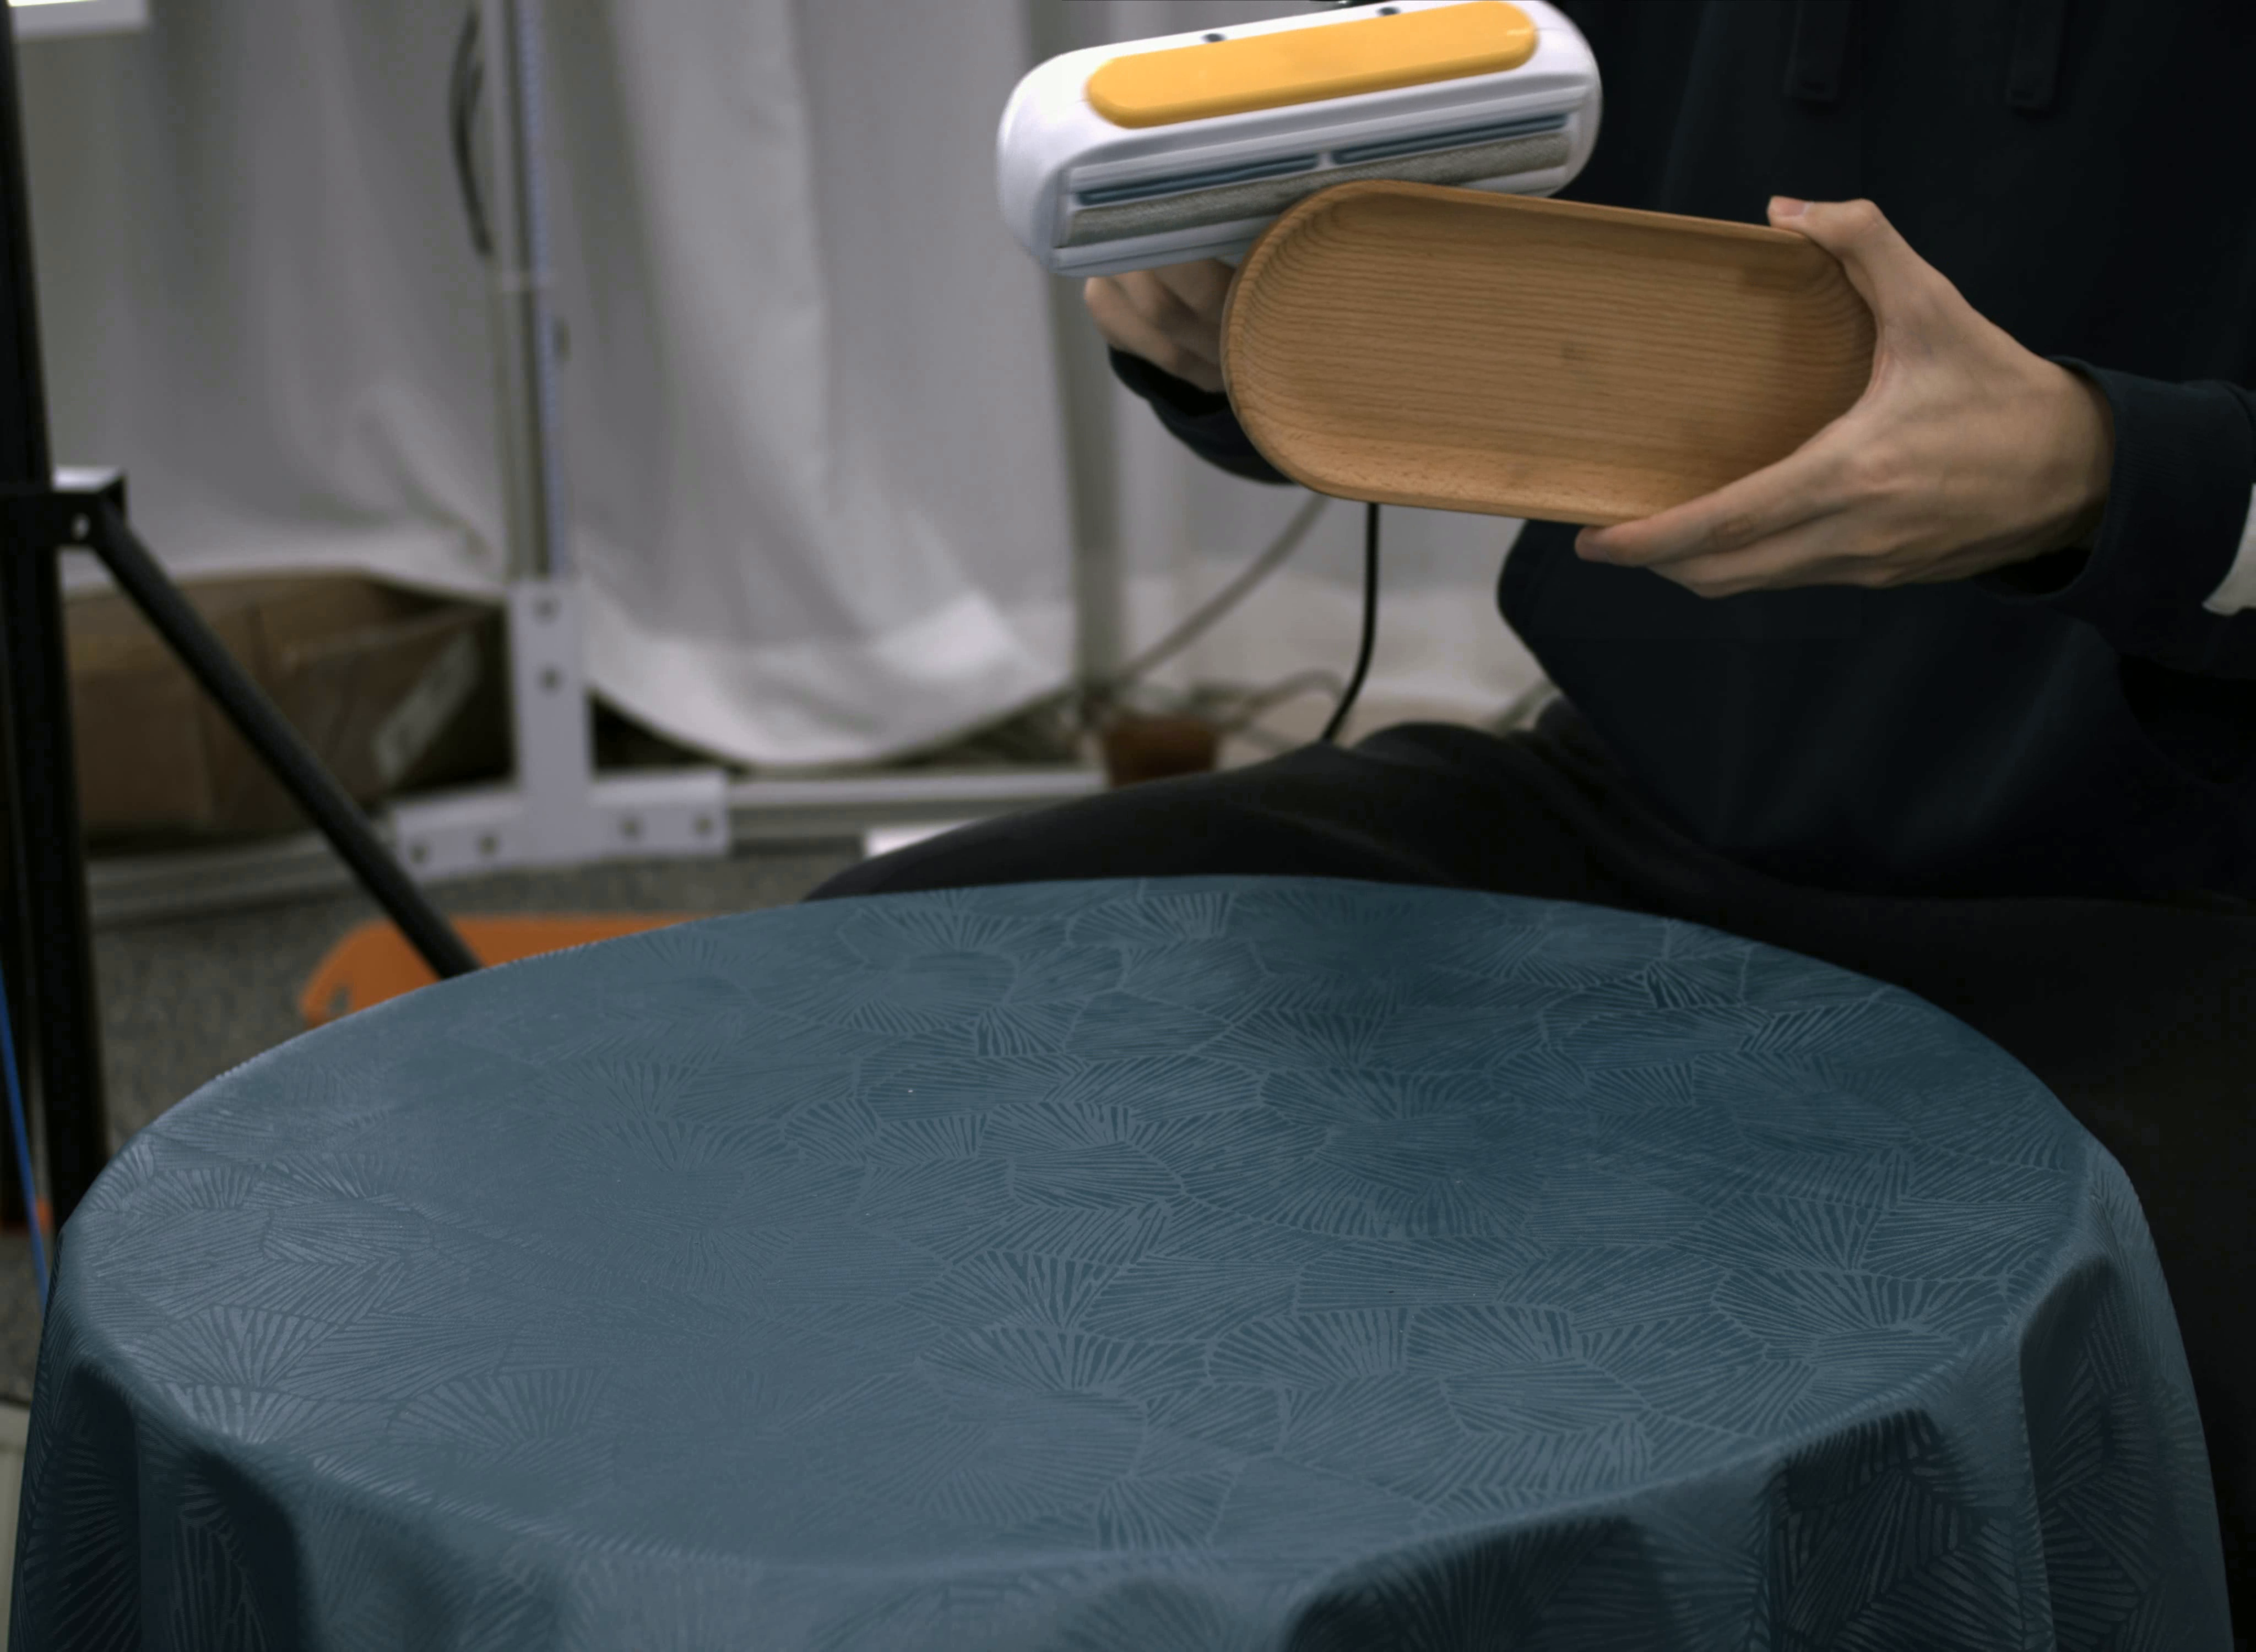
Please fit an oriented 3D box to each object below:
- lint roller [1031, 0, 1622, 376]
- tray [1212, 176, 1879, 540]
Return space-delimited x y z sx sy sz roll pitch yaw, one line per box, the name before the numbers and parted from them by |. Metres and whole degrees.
lint roller | 0.048 -0.194 1.712 0.189 0.192 0.075 -13 61 -19
tray | 0.132 -0.145 1.670 0.227 0.102 0.020 4 8 -19
